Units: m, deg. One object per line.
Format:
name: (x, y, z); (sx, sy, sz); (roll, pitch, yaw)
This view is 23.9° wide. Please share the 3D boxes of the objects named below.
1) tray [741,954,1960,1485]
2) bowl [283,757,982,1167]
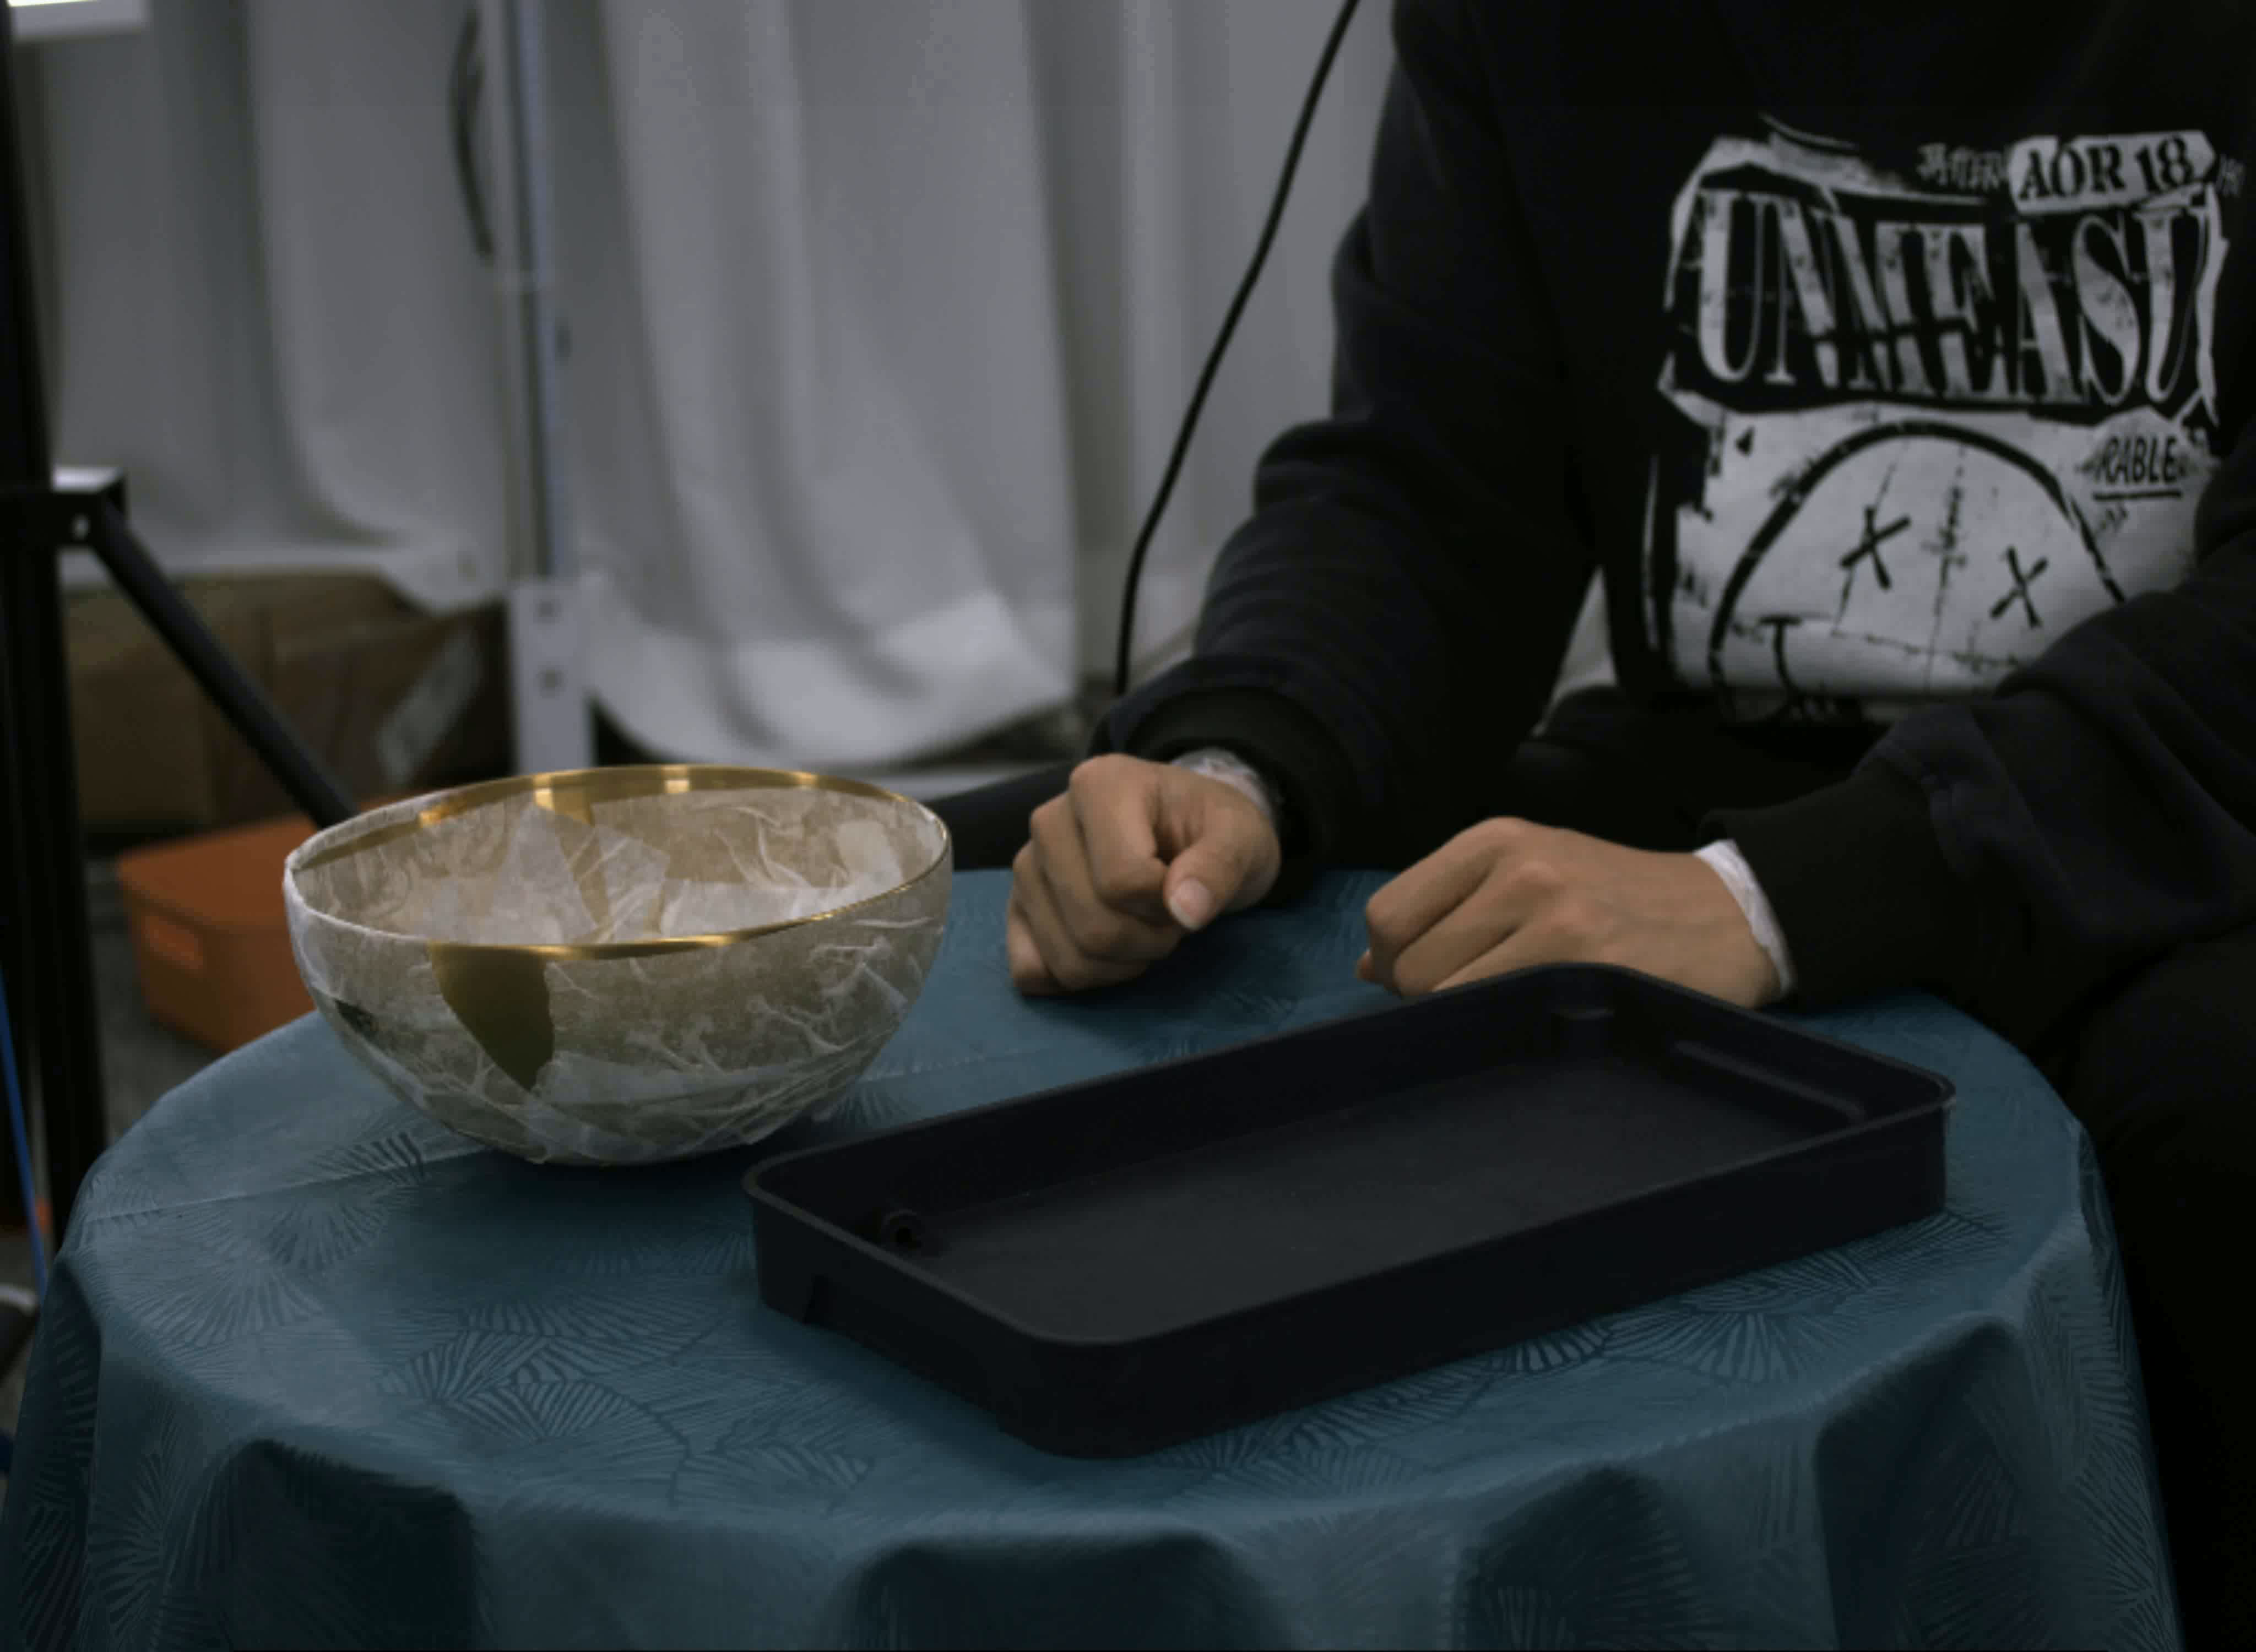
tray: (0.065, 0.105, 1.501); (0.311, 0.037, 0.188); (-14, 20, -29)
bowl: (-0.147, 0.049, 1.619); (0.213, 0.094, 0.216); (-3, 14, -1)
